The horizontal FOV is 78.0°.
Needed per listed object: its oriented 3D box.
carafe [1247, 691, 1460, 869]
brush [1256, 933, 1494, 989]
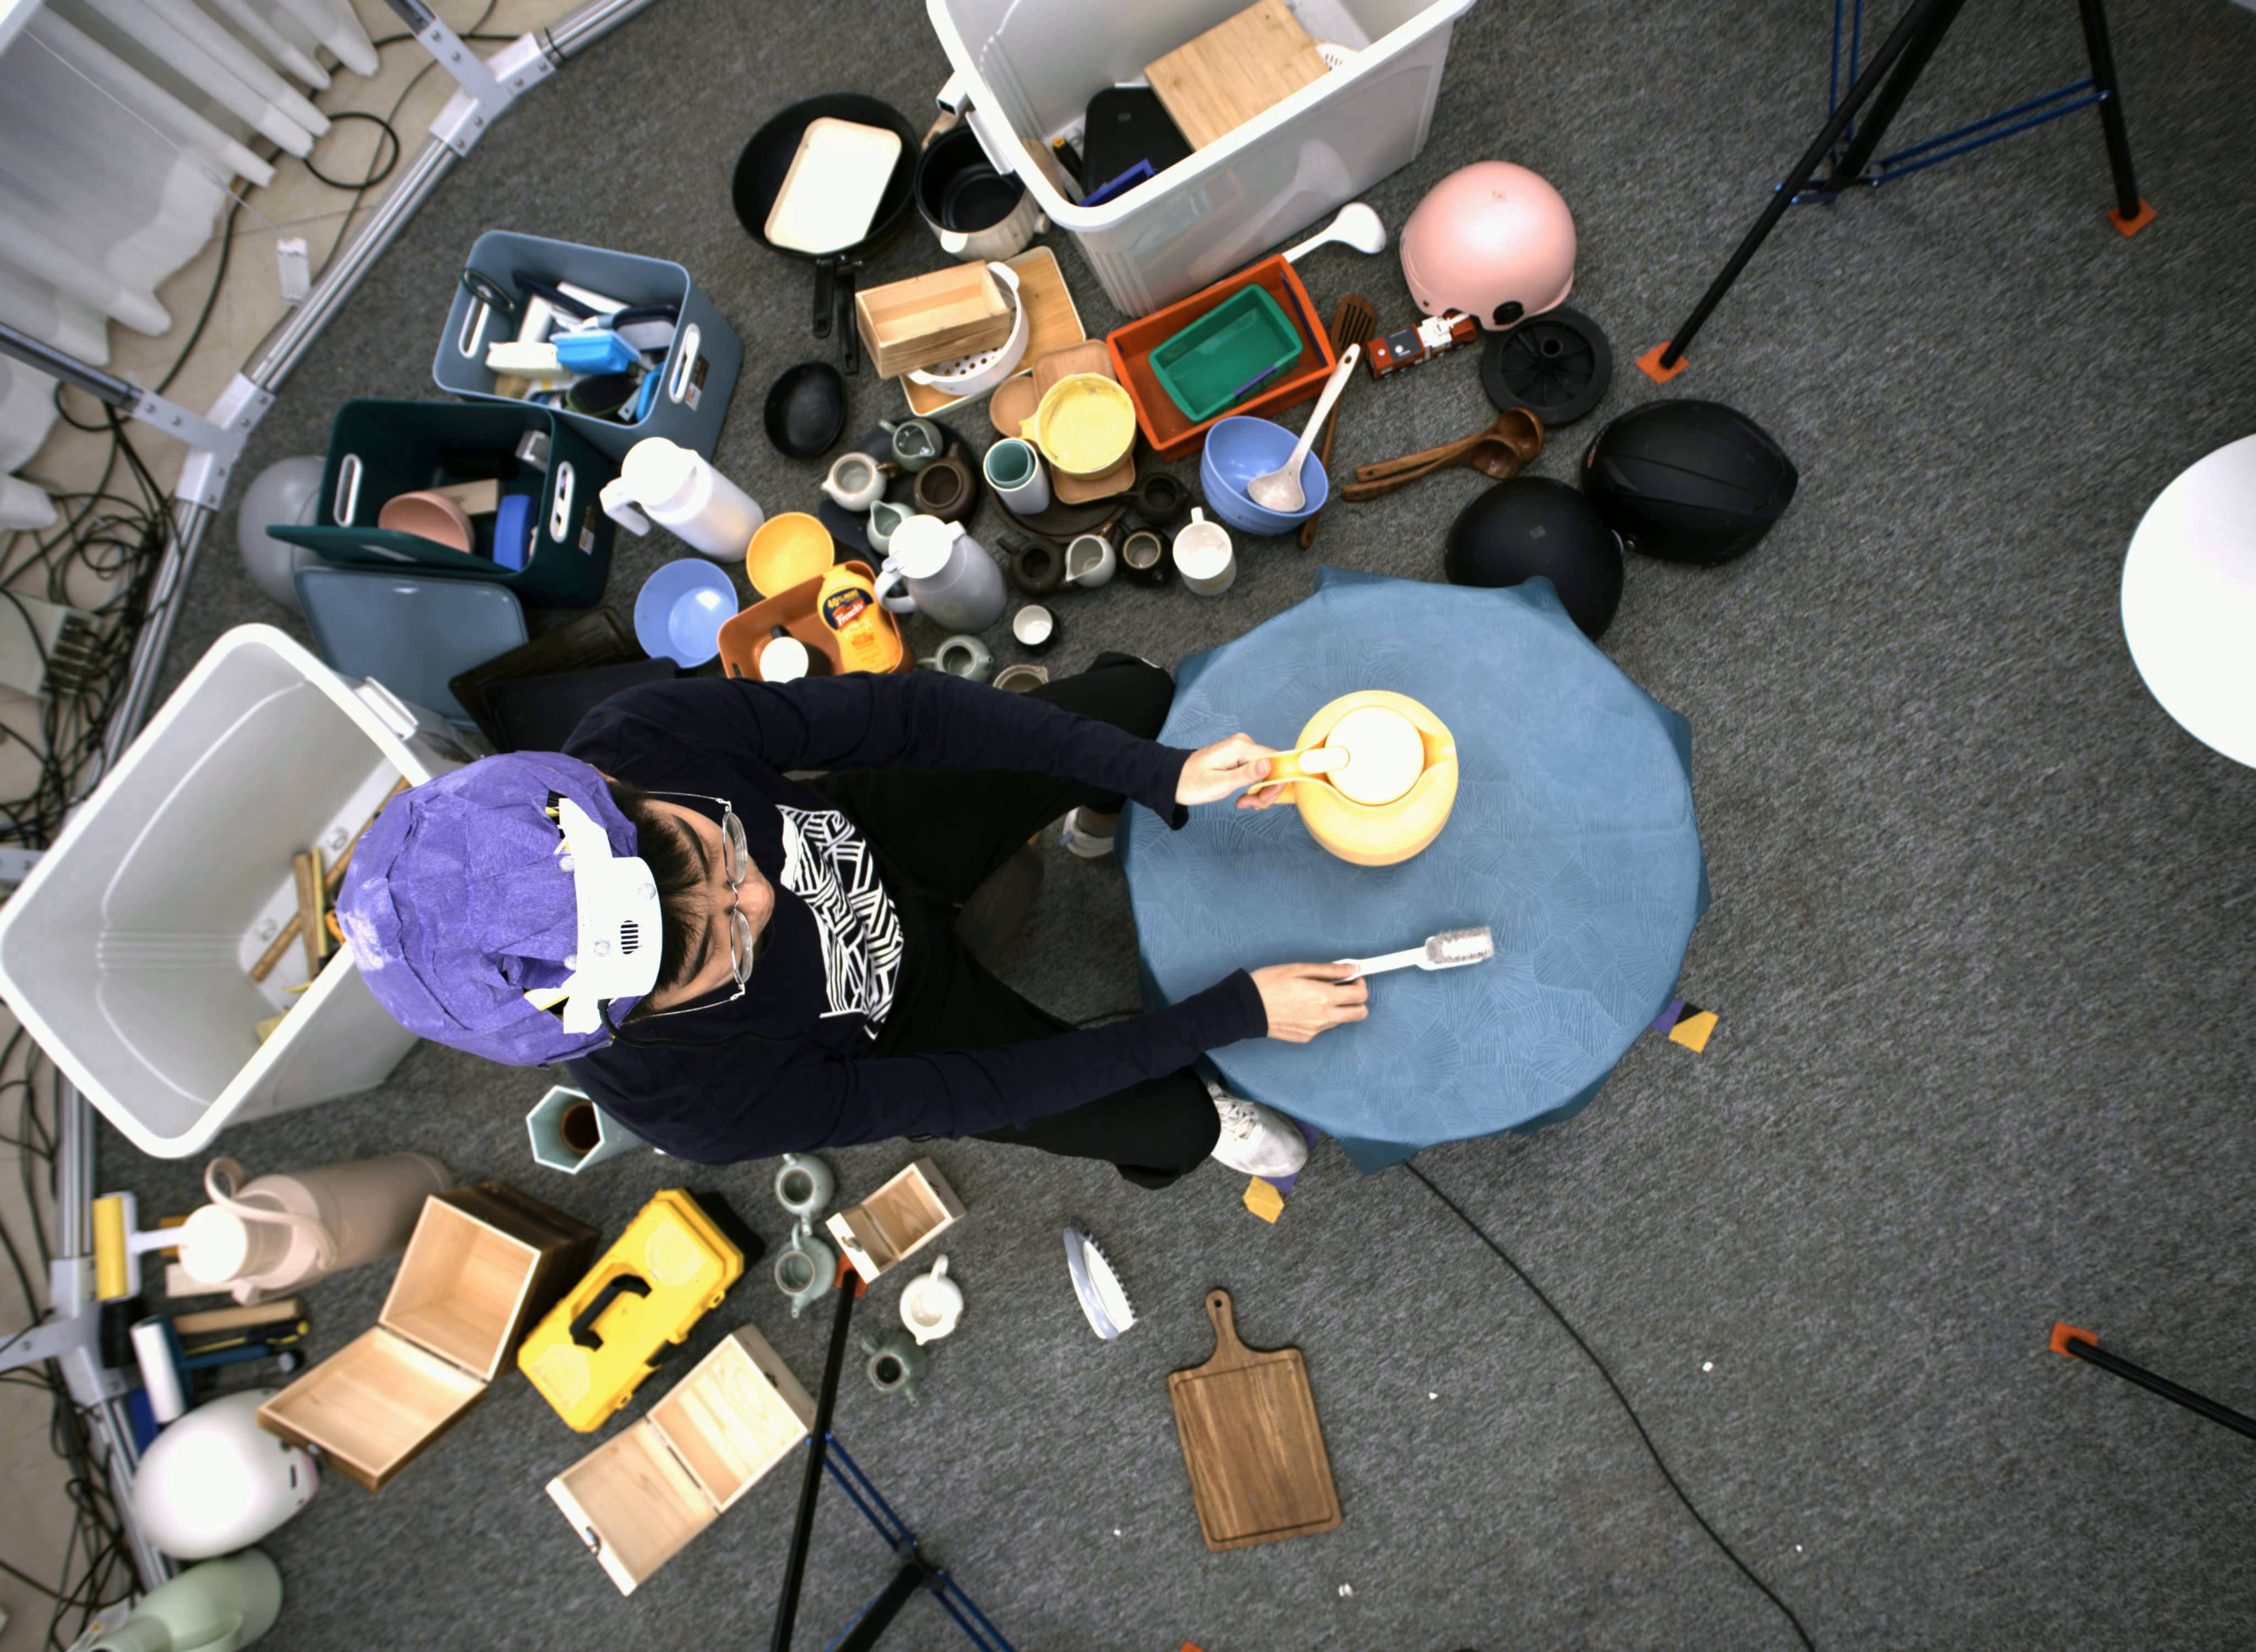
[{"bbox_3d":[0.220,-0.049,1.342,0.203,0.261,0.162,-5,82,9],"label":"carafe"},{"bbox_3d":[0.253,0.140,1.422,0.244,0.050,0.034,-8,85,4],"label":"brush"}]
